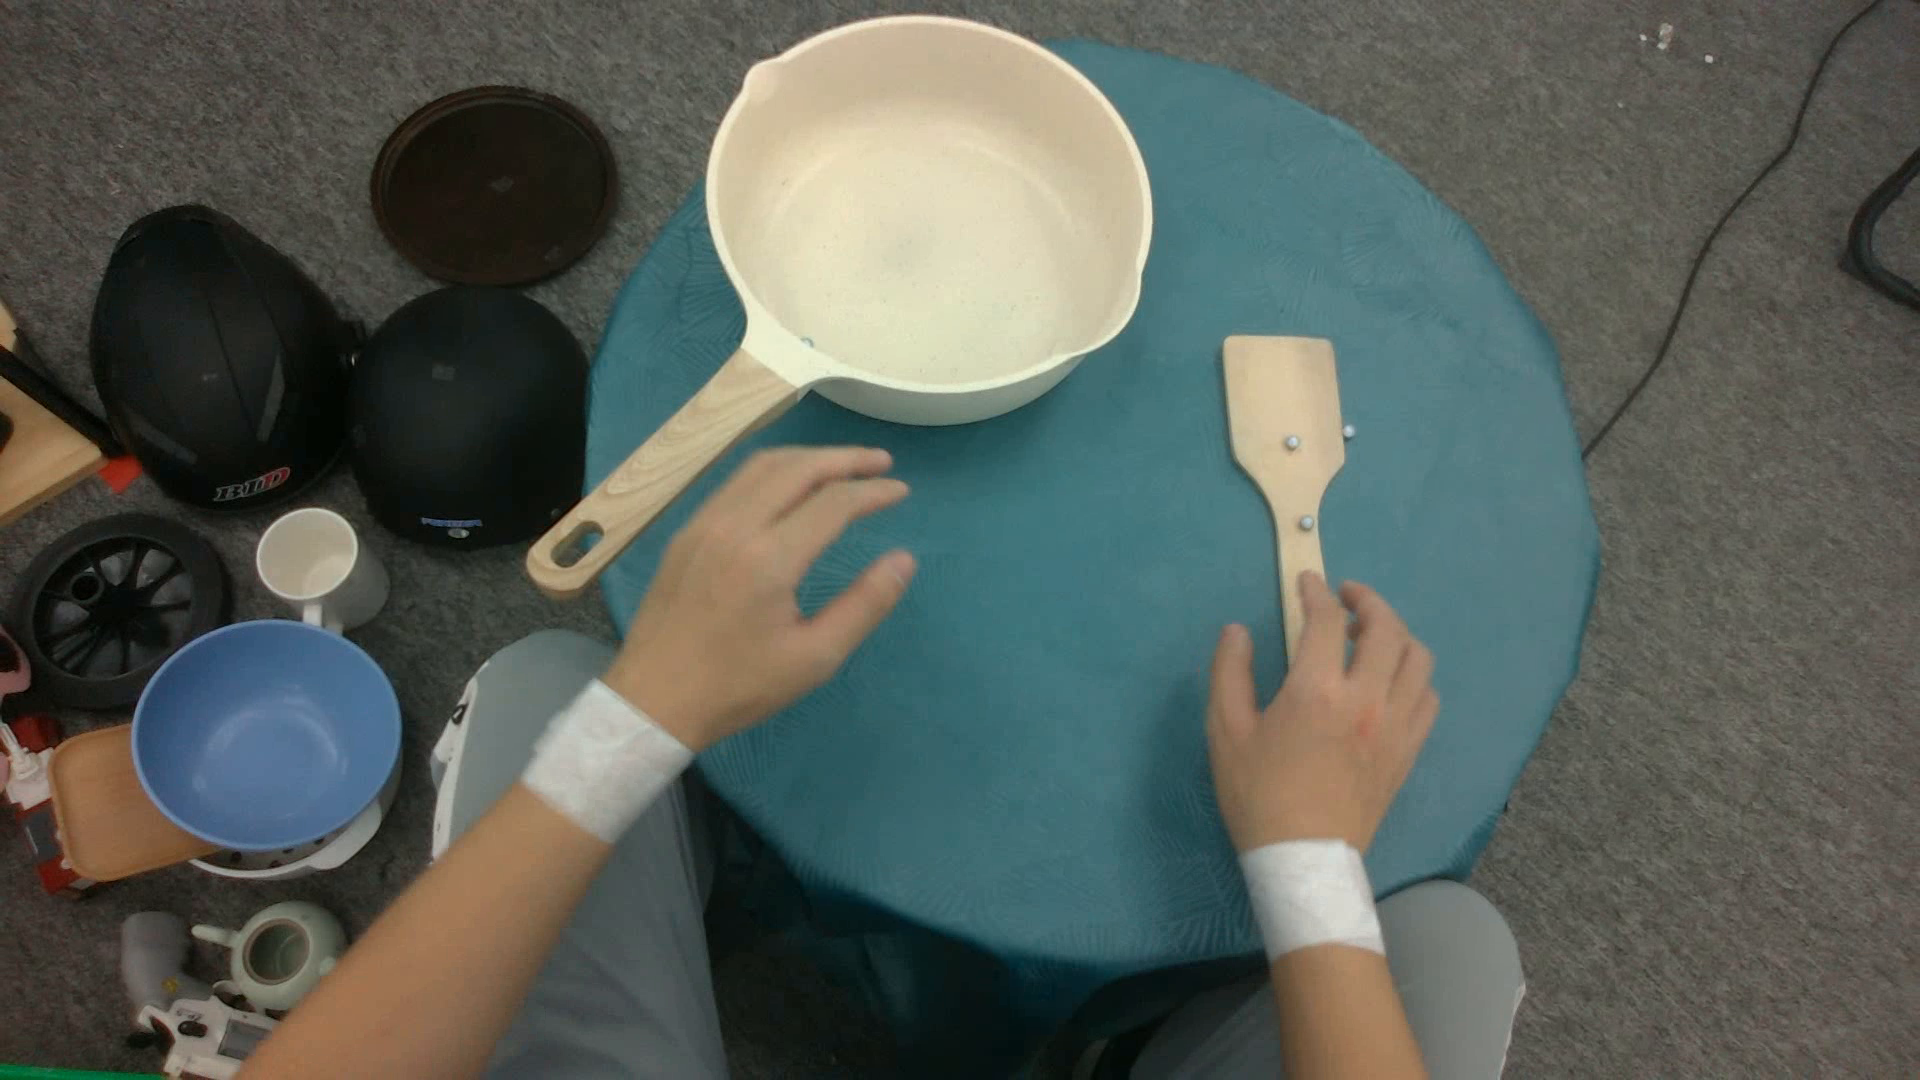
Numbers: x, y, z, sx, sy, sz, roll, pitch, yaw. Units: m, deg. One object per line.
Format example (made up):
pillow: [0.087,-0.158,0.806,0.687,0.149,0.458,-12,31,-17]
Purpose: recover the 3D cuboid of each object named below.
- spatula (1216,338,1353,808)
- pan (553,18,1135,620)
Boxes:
spatula: [0.200,0.011,0.809,0.072,0.010,0.294,0,68,-6]
pan: [-0.077,-0.117,0.787,0.263,0.101,0.436,34,70,7]
